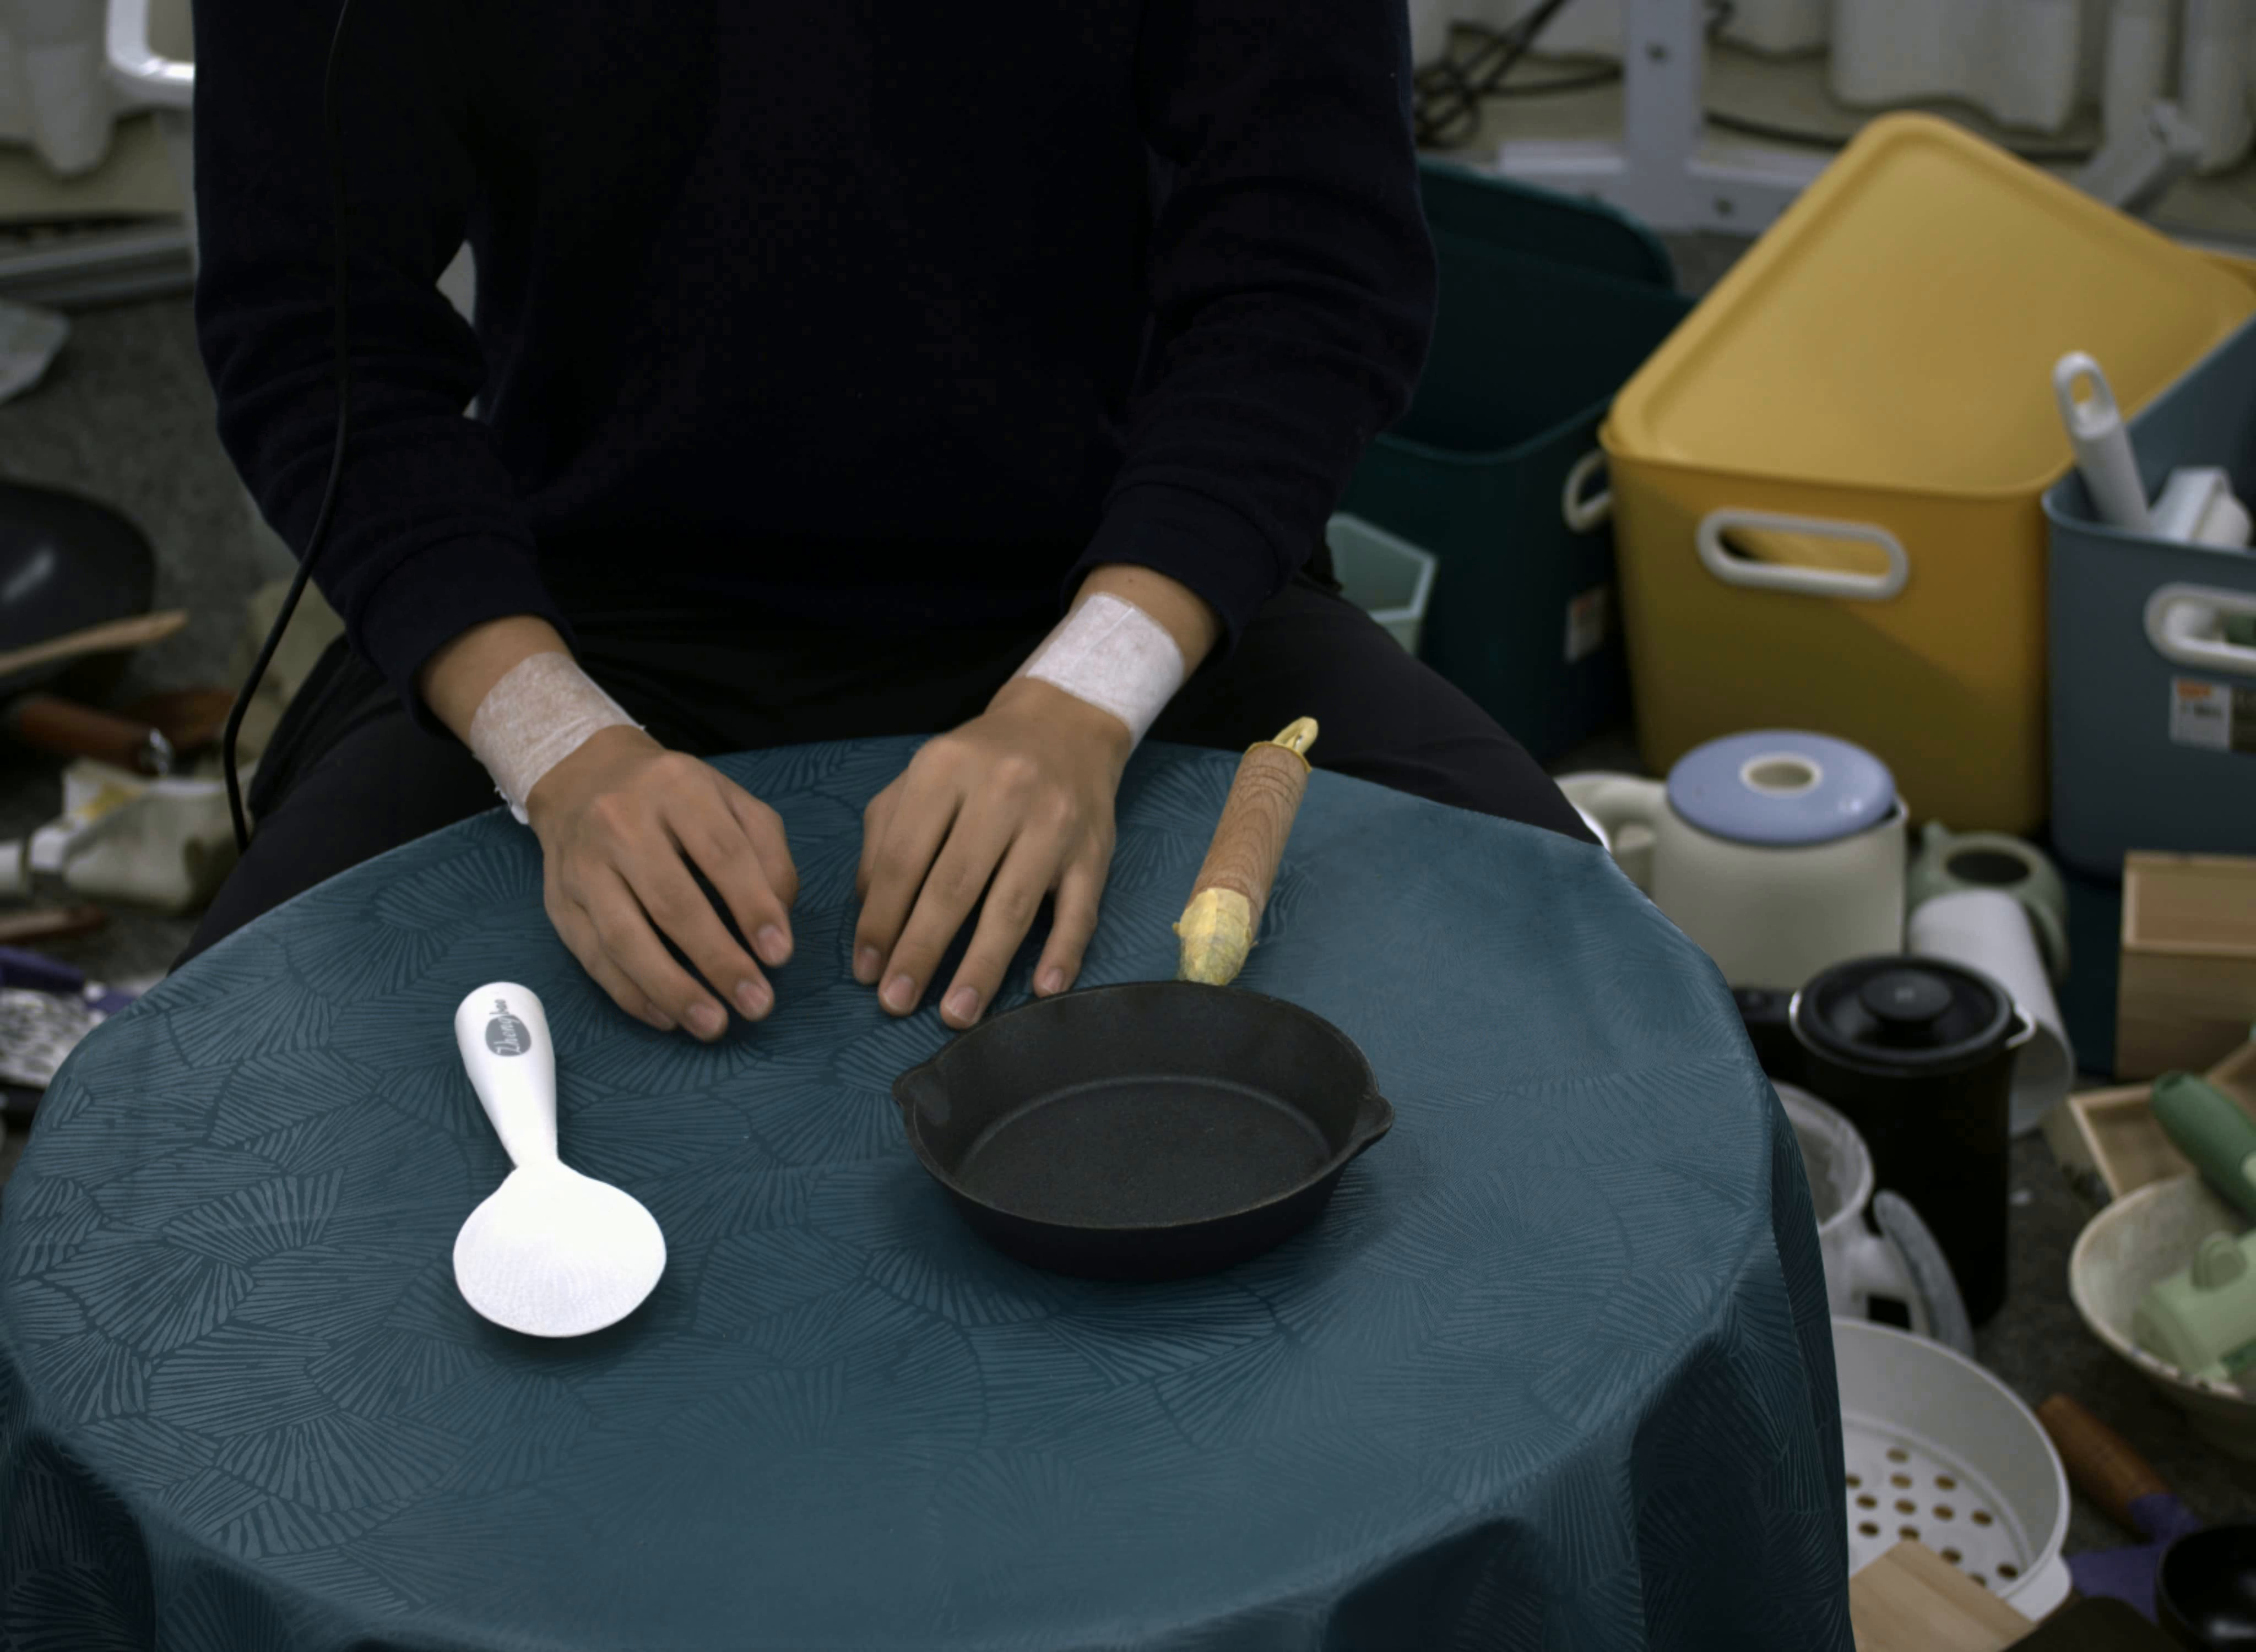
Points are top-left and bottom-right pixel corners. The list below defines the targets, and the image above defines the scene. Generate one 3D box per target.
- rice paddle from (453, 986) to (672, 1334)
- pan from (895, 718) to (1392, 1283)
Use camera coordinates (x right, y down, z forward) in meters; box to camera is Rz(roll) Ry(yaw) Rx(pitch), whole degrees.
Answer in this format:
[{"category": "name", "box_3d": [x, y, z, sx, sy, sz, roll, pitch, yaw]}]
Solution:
[{"category": "rice paddle", "box_3d": [-0.195, 0.113, 1.867, 0.069, 0.029, 0.207, -10, 28, -10]}, {"category": "pan", "box_3d": [0.026, 0.057, 1.929, 0.168, 0.049, 0.330, 4, 30, 14]}]
